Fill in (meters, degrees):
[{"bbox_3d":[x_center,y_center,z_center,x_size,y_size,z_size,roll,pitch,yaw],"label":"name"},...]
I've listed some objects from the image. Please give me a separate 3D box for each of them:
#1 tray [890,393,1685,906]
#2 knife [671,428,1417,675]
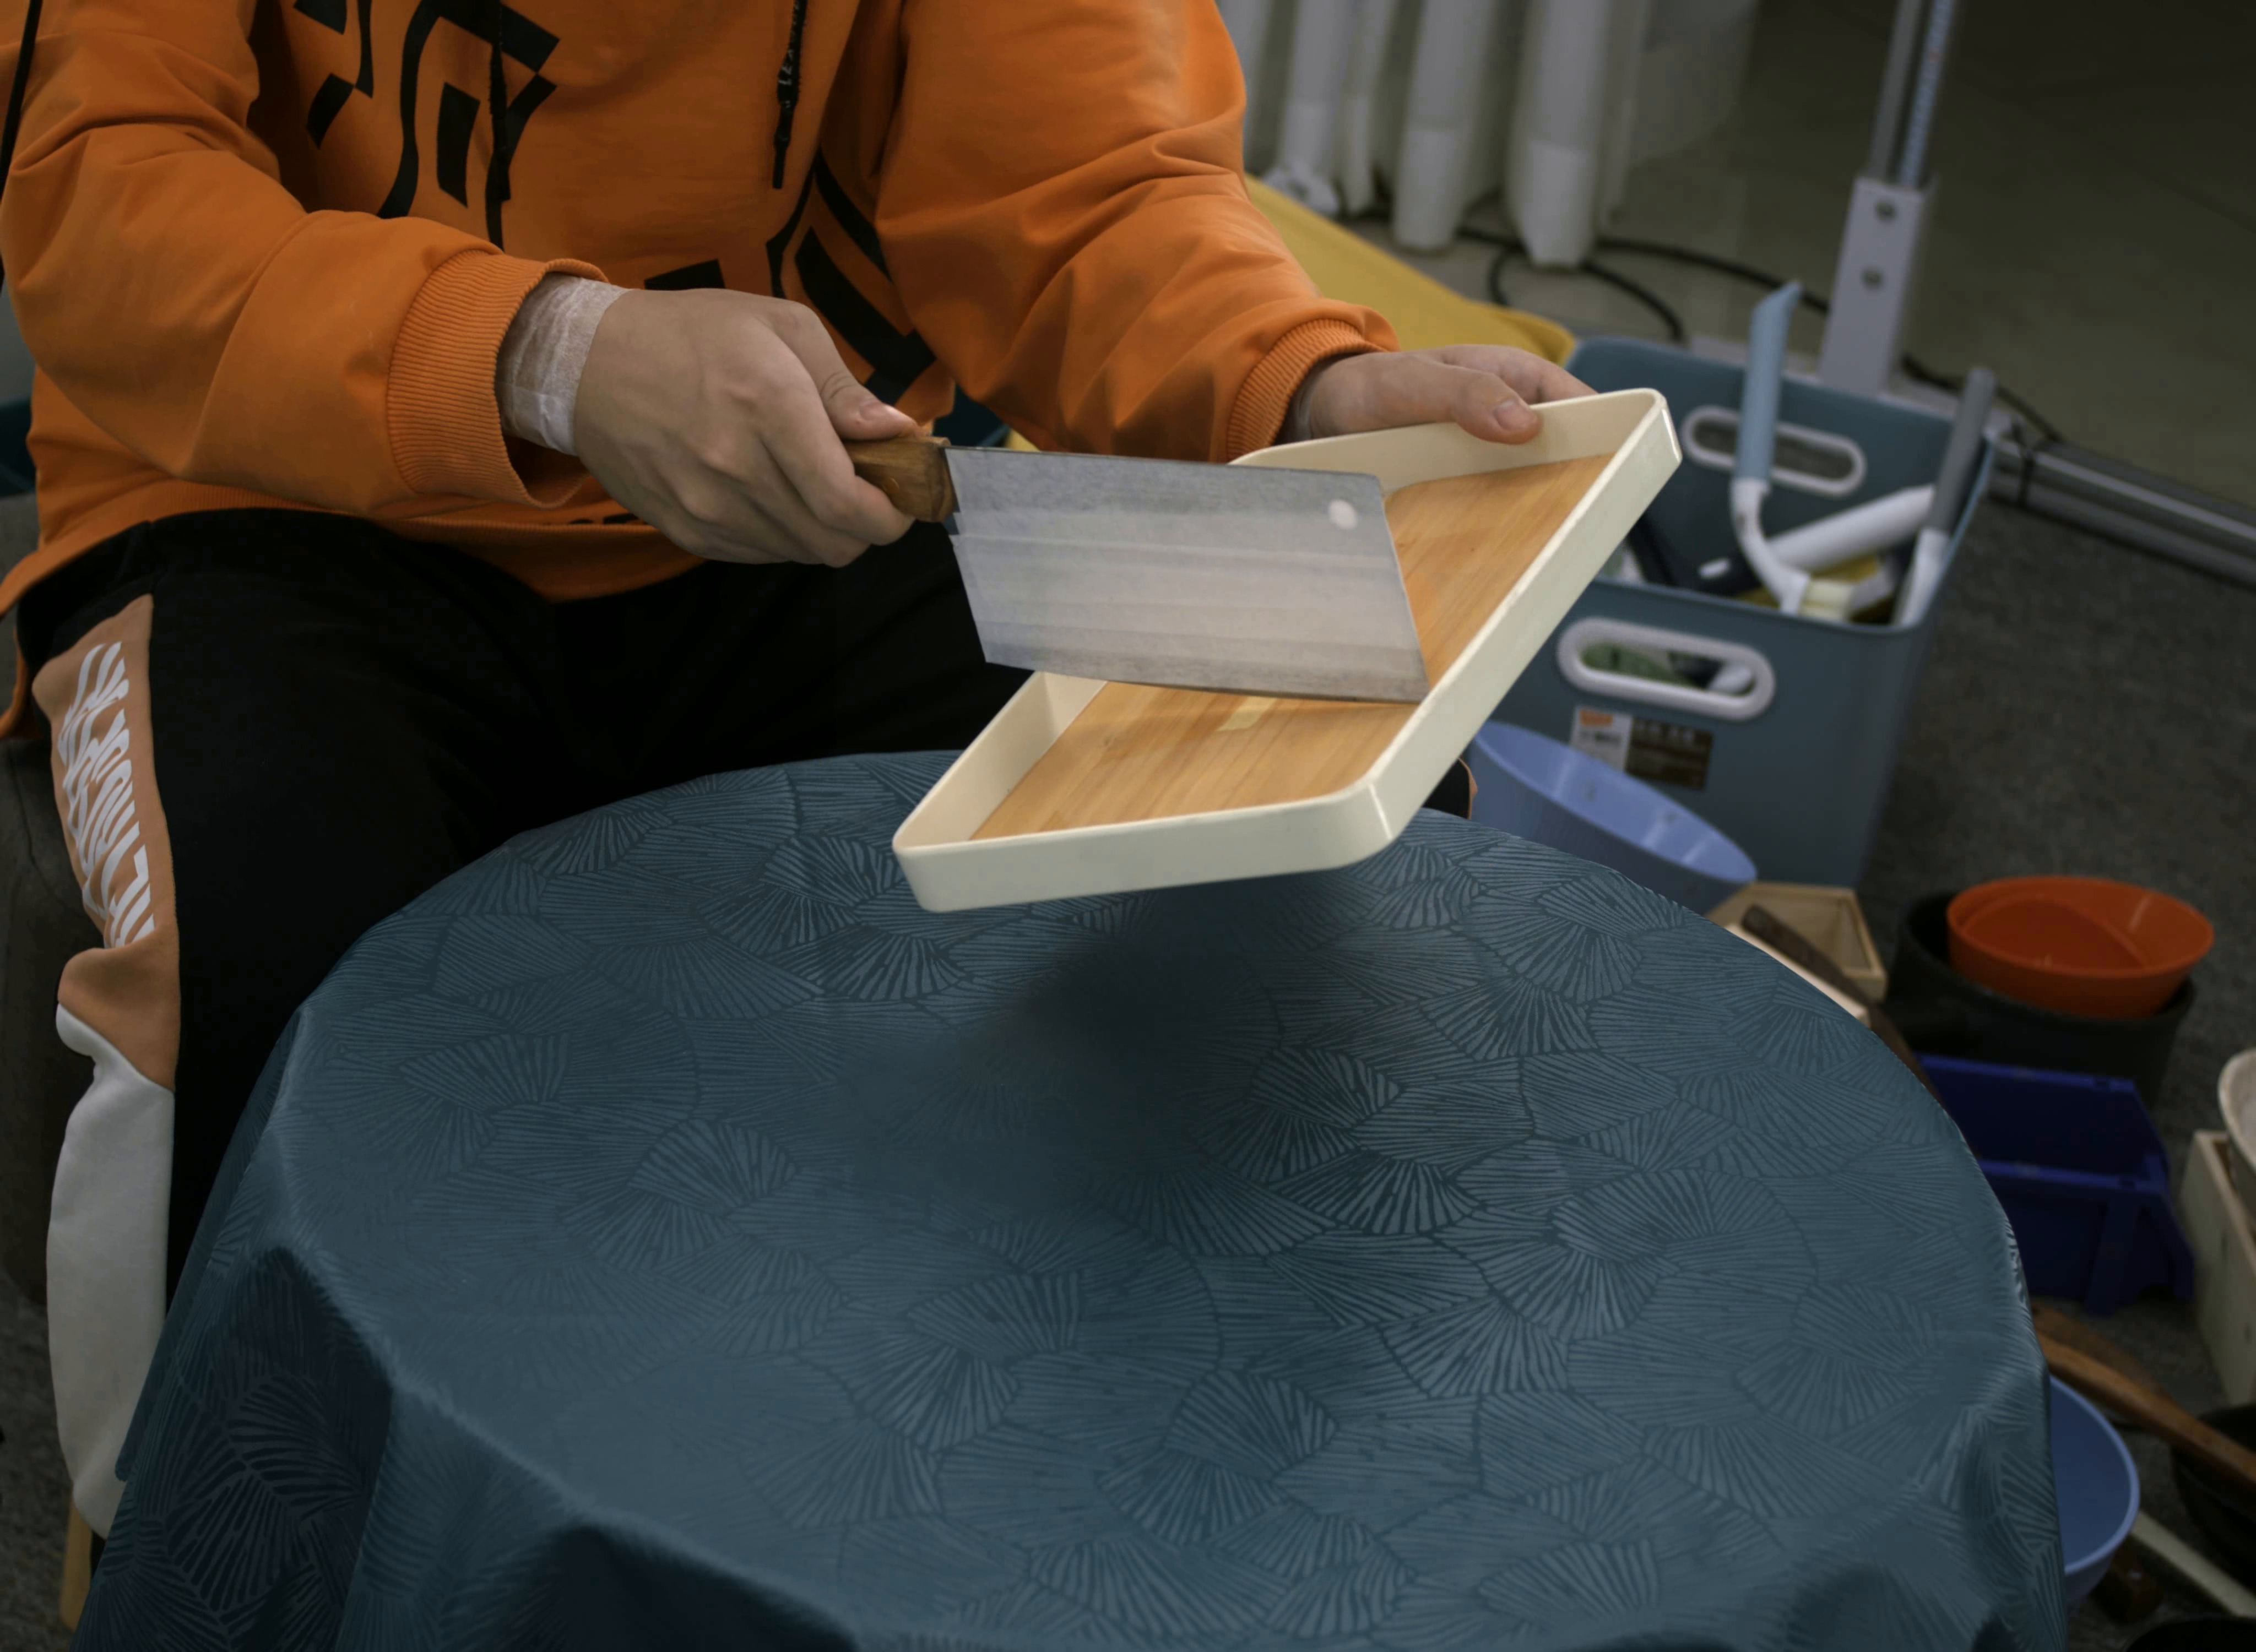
[{"bbox_3d":[0.060,-0.063,1.849,0.192,0.027,0.300,-6,27,32],"label":"tray"},{"bbox_3d":[-0.031,-0.094,1.849,0.307,0.092,0.021,6,35,37],"label":"knife"}]
